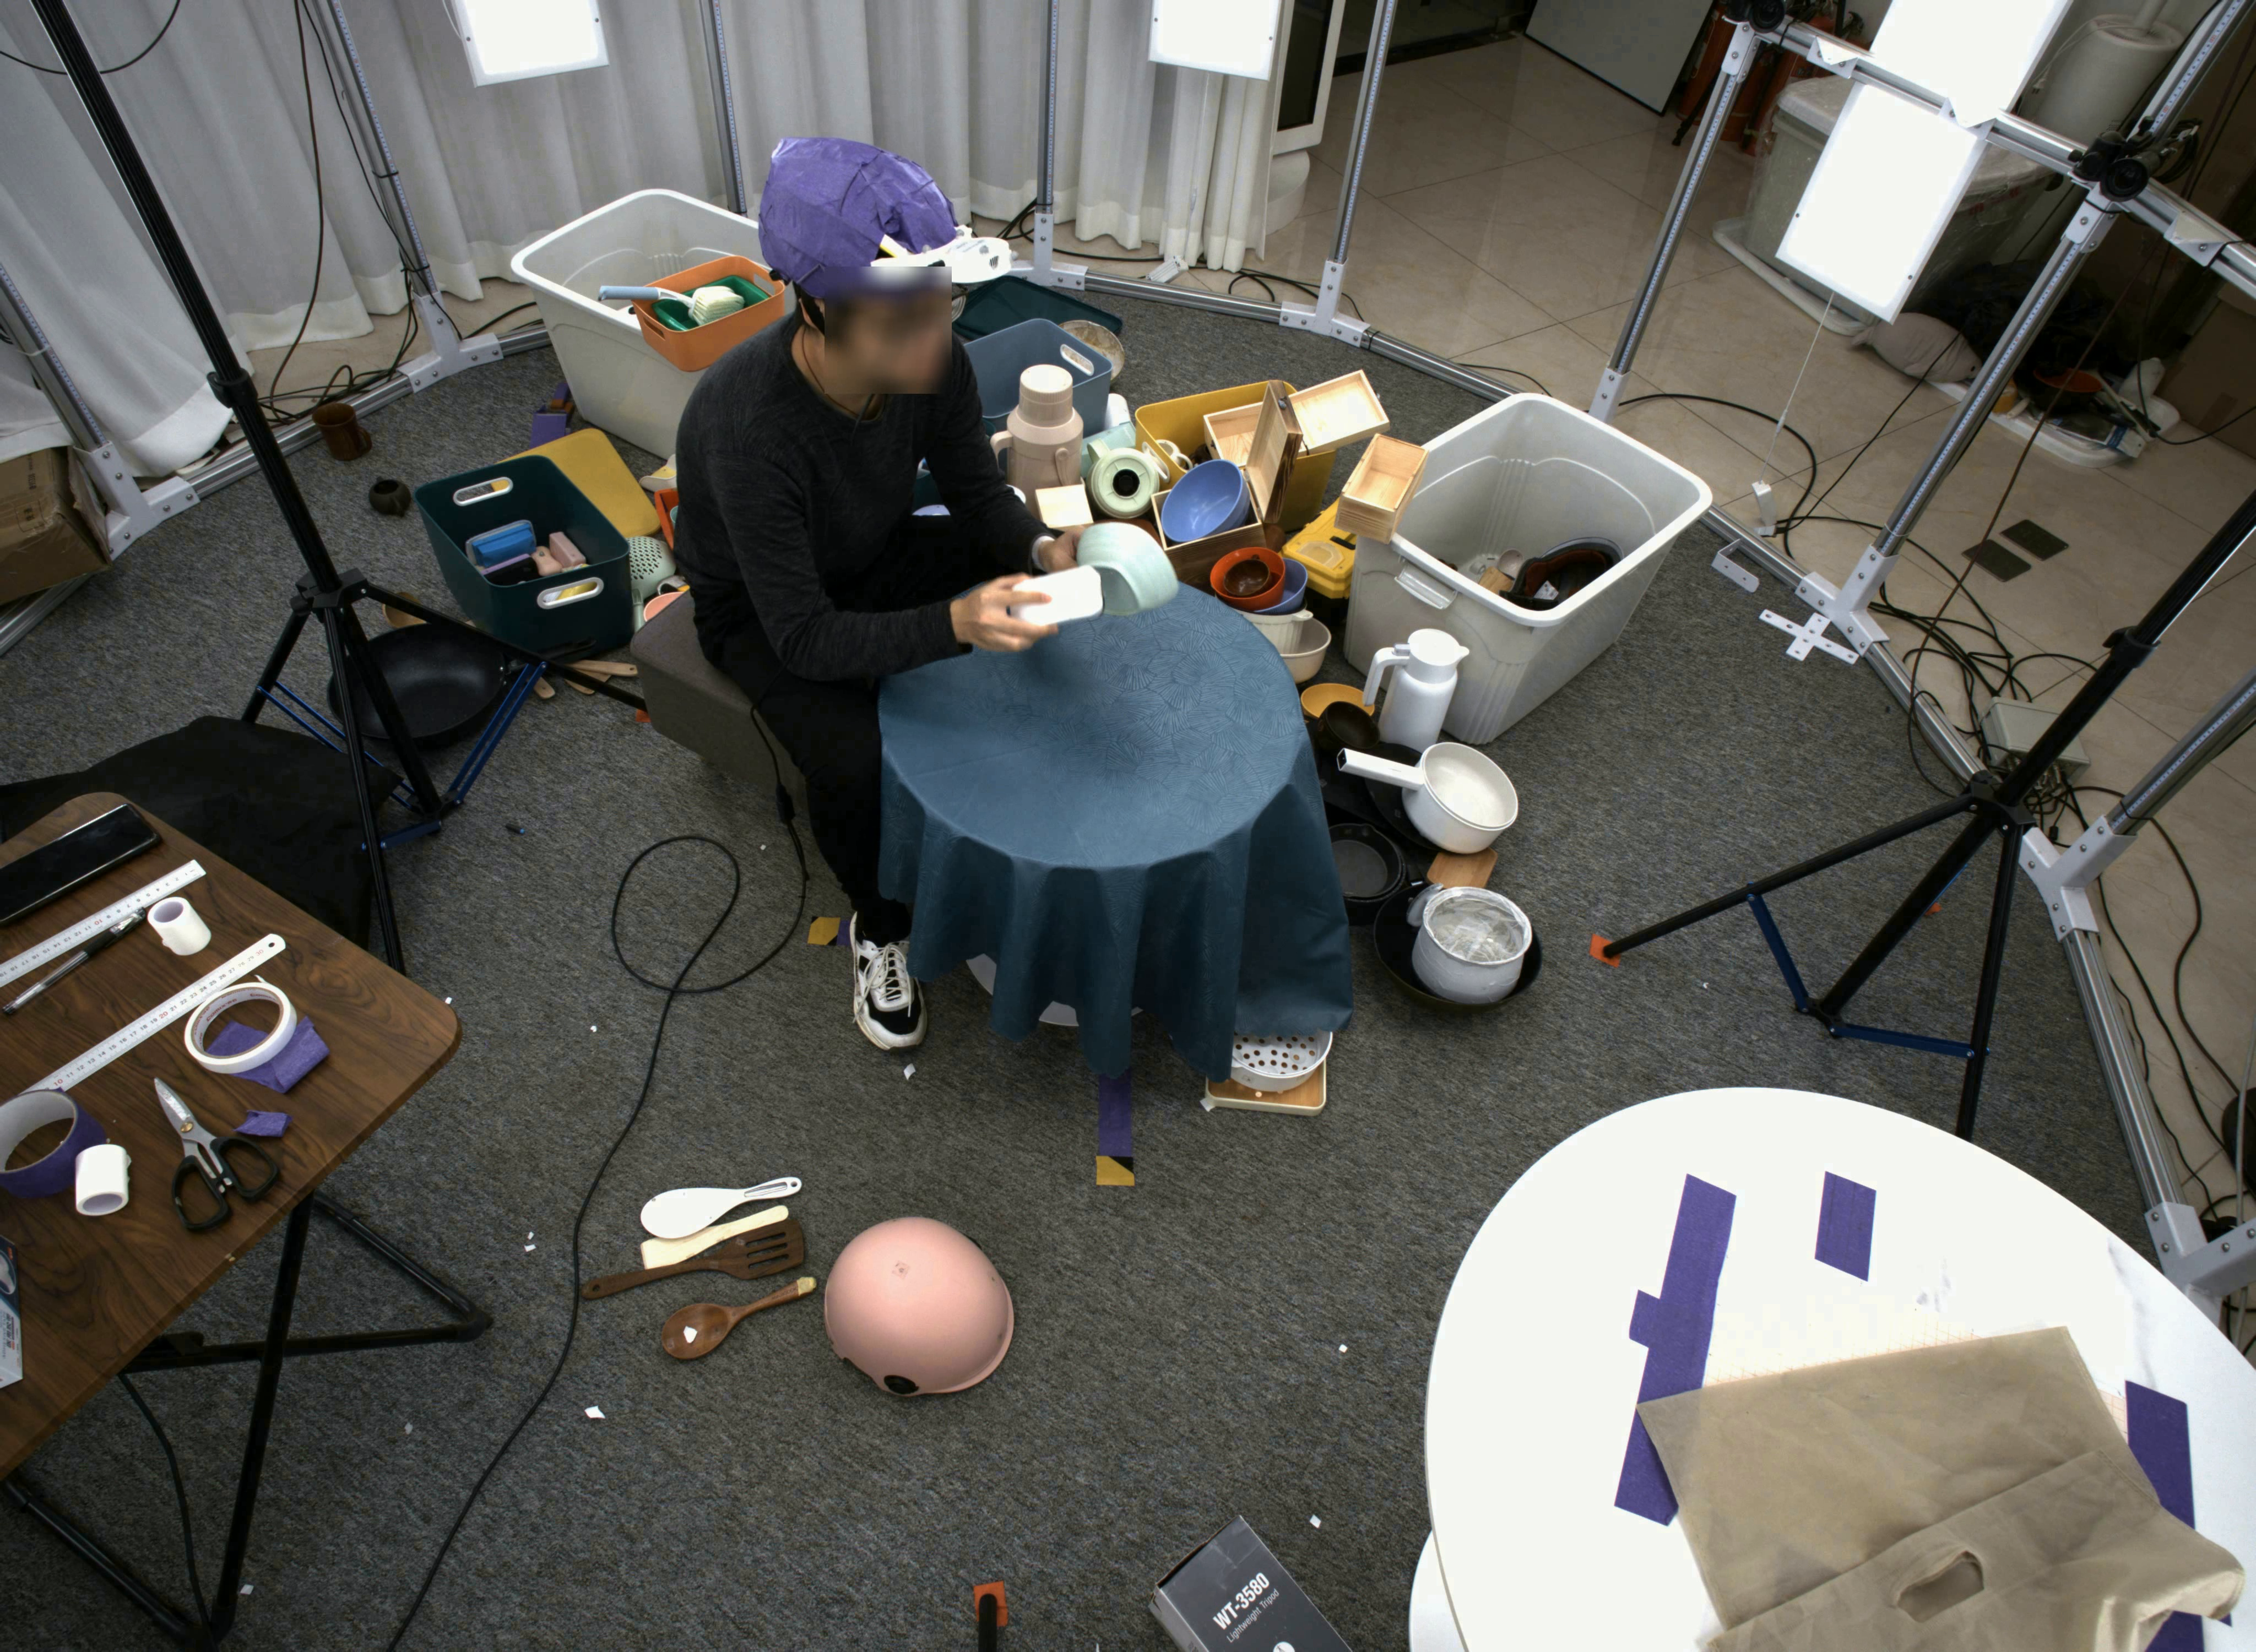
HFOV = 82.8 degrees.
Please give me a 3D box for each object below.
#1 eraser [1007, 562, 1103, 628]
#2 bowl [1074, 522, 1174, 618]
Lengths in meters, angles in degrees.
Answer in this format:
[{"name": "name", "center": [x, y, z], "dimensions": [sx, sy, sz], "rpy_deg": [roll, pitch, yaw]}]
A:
[{"name": "eraser", "center": [-0.095, -0.294, 1.637], "dimensions": [0.131, 0.034, 0.064], "rpy_deg": [-9, 79, 26]}, {"name": "bowl", "center": [-0.017, -0.327, 1.699], "dimensions": [0.153, 0.148, 0.059], "rpy_deg": [29, 58, 19]}]
